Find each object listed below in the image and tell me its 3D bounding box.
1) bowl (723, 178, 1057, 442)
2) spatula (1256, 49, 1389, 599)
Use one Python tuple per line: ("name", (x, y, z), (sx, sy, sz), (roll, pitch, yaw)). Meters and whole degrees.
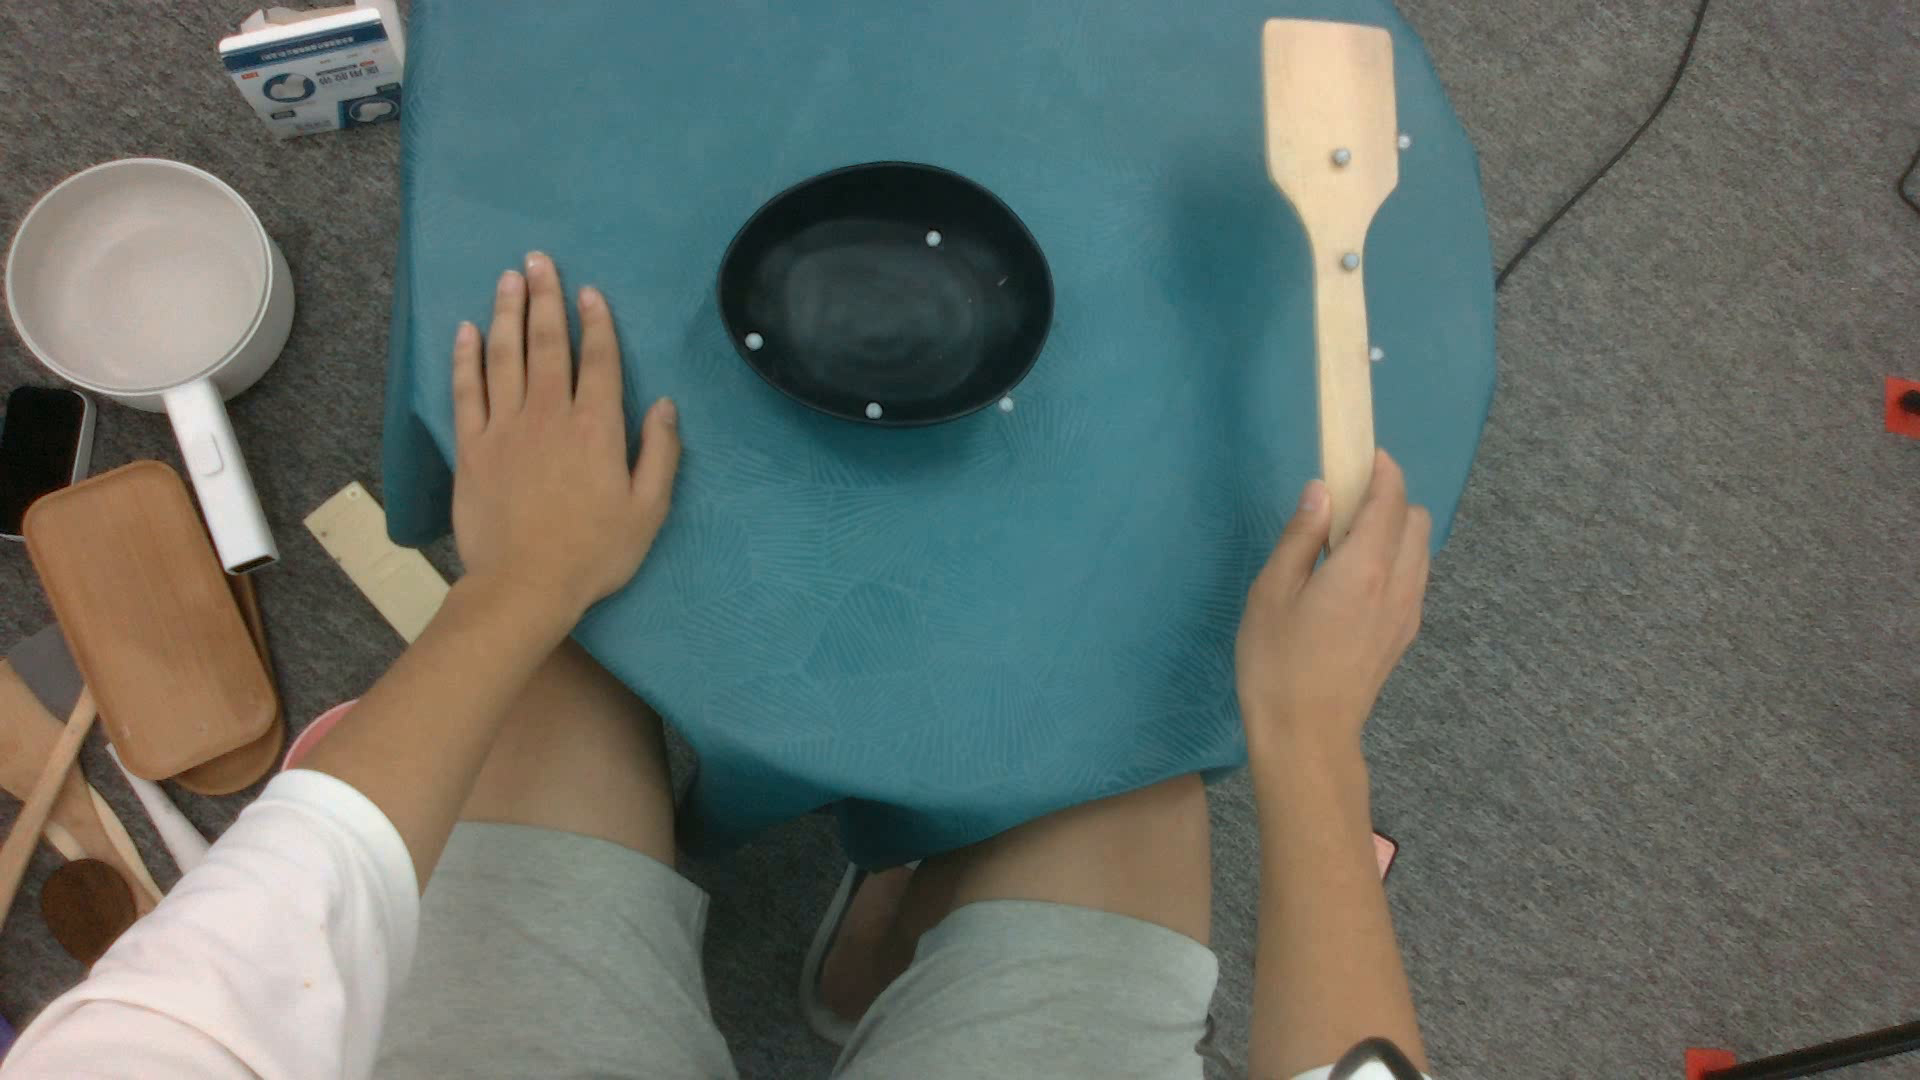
("bowl", (-0.037, -0.113, 0.724), (0.170, 0.066, 0.137), (-2, 81, -7))
("spatula", (0.193, -0.115, 0.706), (0.072, 0.010, 0.293), (1, 79, -9))
